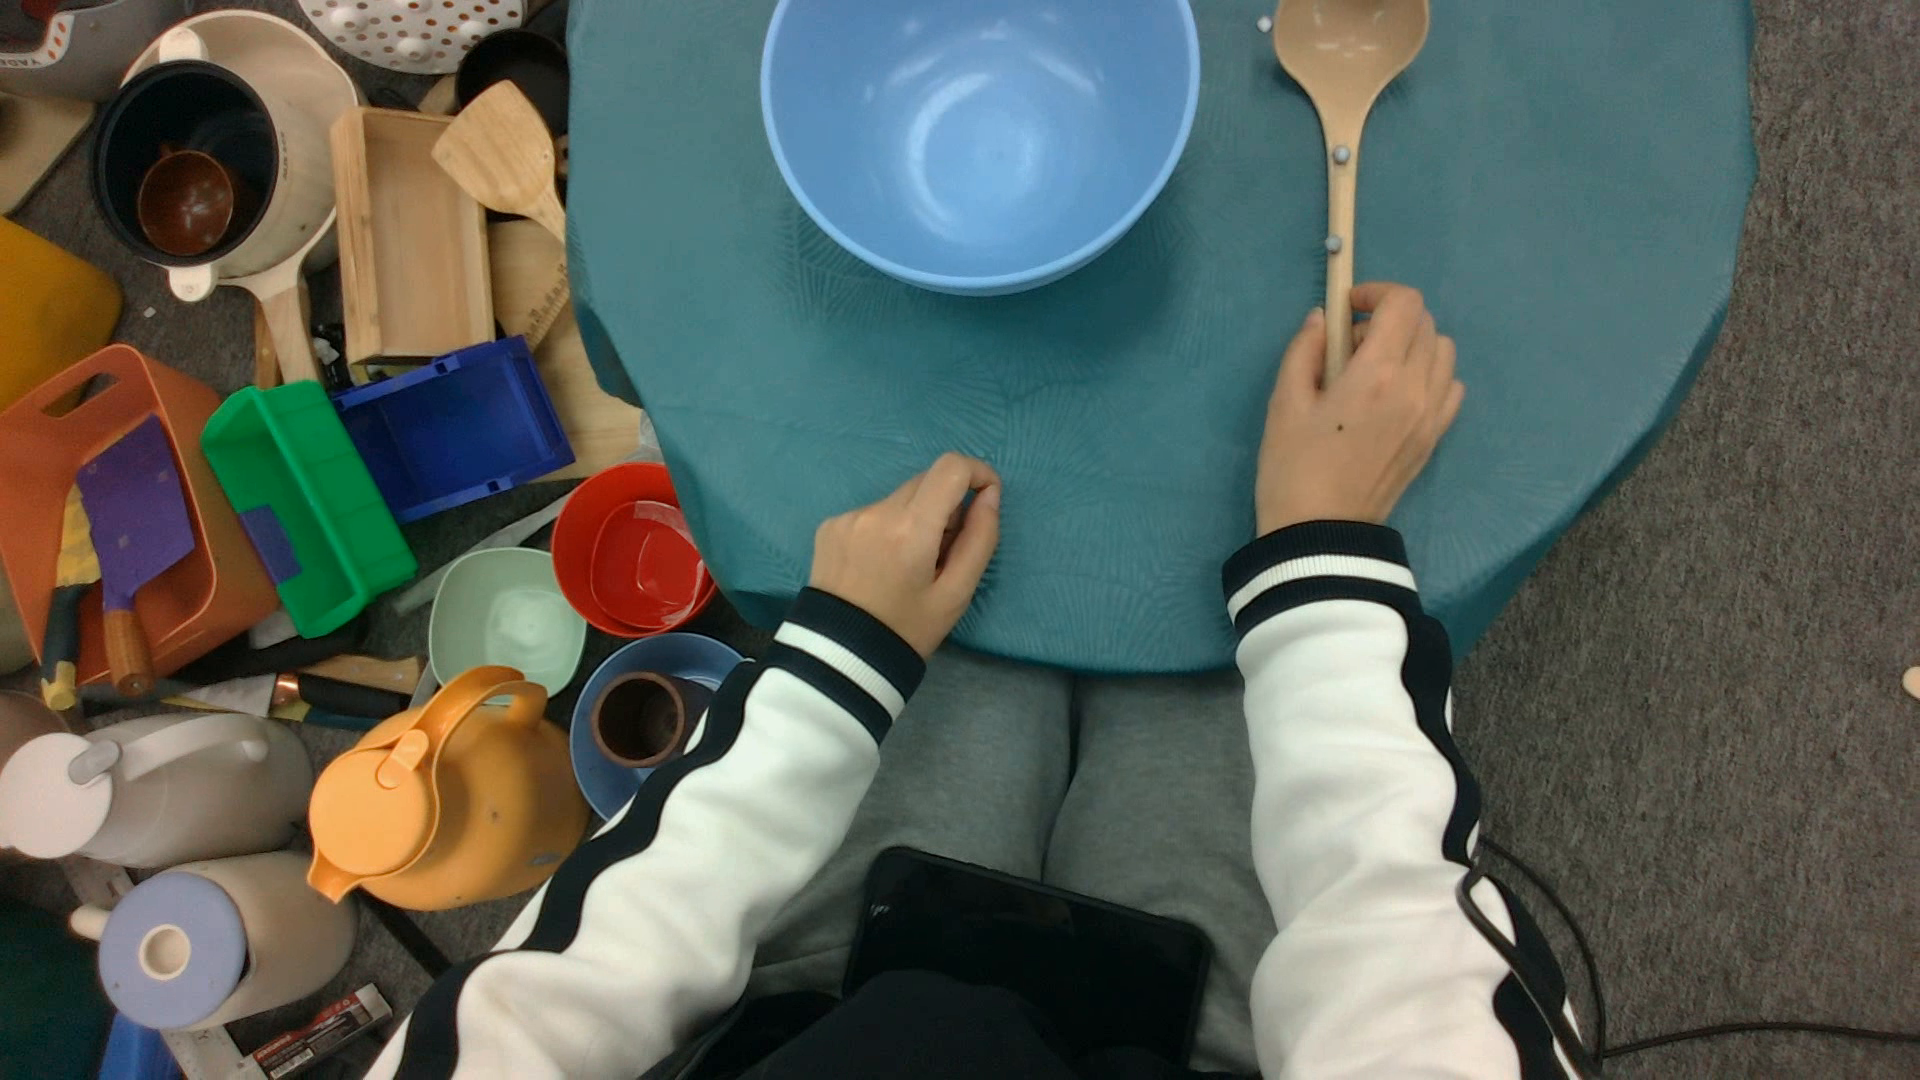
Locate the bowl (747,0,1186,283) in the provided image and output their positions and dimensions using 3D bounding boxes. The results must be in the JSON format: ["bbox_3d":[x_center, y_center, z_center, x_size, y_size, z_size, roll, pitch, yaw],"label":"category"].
[{"bbox_3d":[0.006,-0.205,0.658,0.196,0.095,0.197,-1,79,4],"label":"bowl"}]

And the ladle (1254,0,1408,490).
[{"bbox_3d":[0.176,-0.155,0.647,0.072,0.073,0.255,0,79,10],"label":"ladle"}]
